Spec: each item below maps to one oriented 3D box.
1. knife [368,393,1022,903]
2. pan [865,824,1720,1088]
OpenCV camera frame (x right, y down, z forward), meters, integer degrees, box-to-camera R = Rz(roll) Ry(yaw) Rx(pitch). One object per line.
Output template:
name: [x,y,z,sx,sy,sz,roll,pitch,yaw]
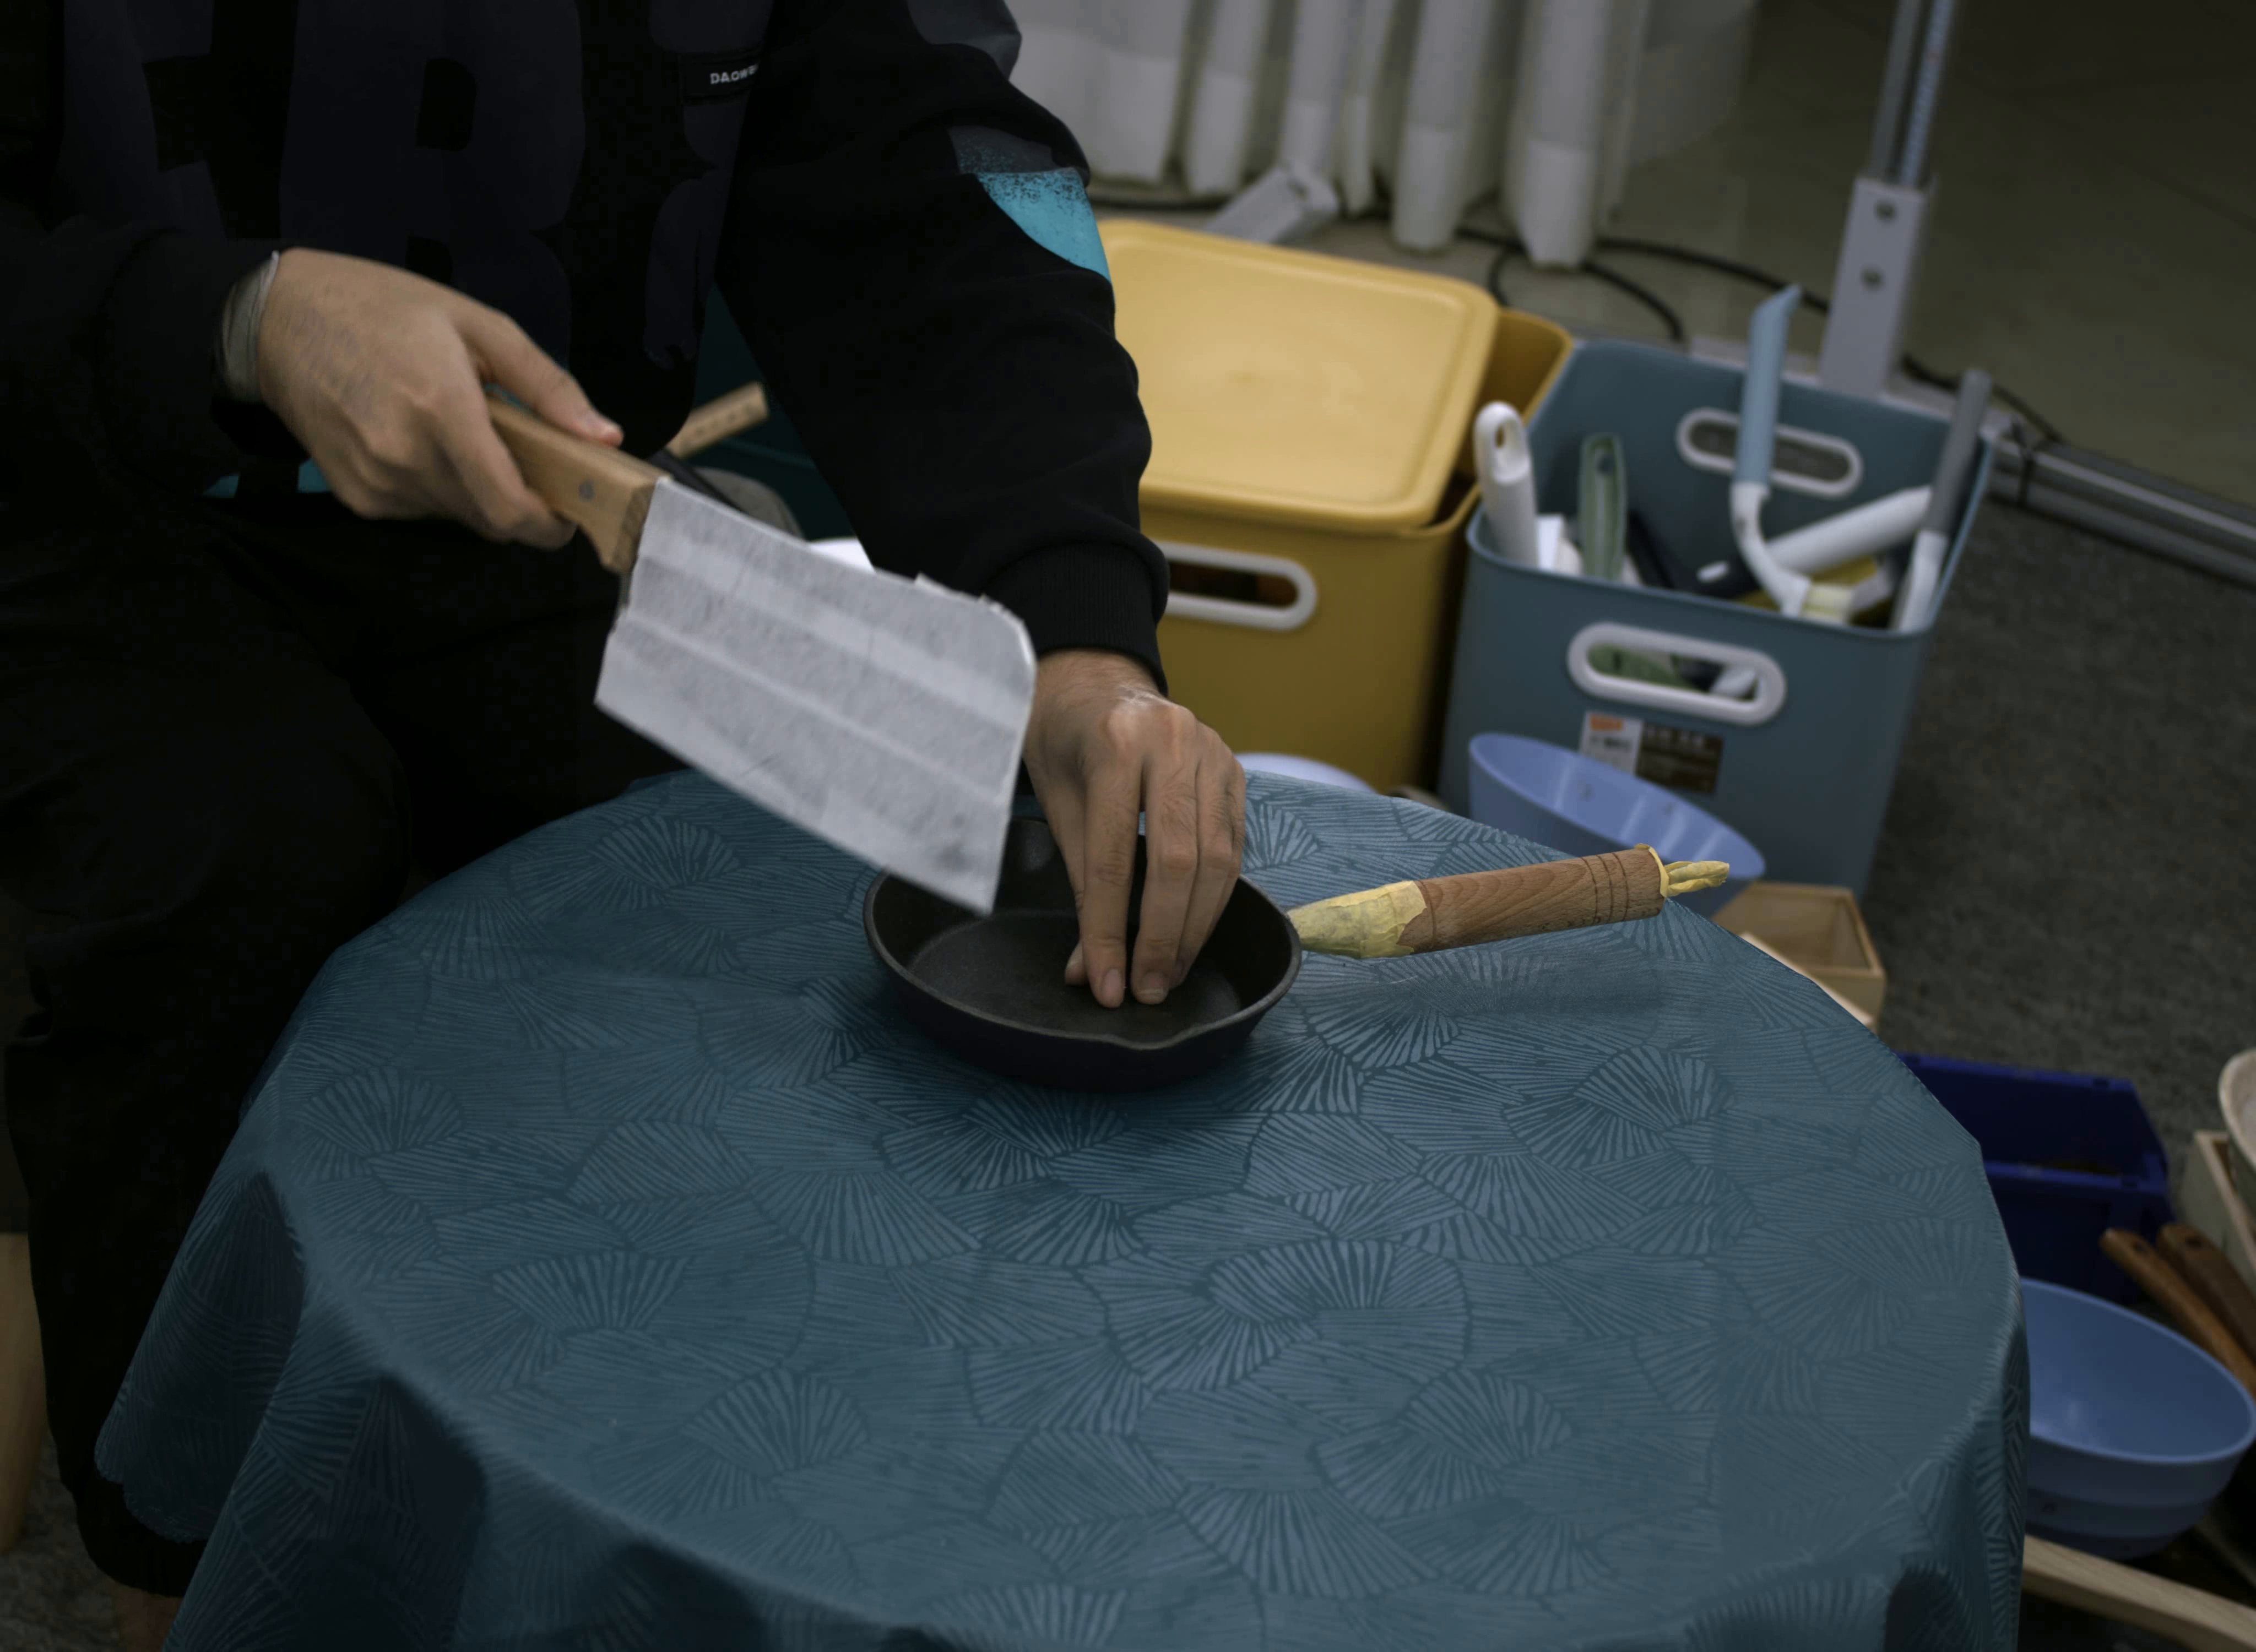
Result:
knife: [-0.150,-0.076,1.812,0.318,0.114,0.021,31,22,33]
pan: [0.063,0.040,1.926,0.322,0.049,0.170,-3,27,-17]
